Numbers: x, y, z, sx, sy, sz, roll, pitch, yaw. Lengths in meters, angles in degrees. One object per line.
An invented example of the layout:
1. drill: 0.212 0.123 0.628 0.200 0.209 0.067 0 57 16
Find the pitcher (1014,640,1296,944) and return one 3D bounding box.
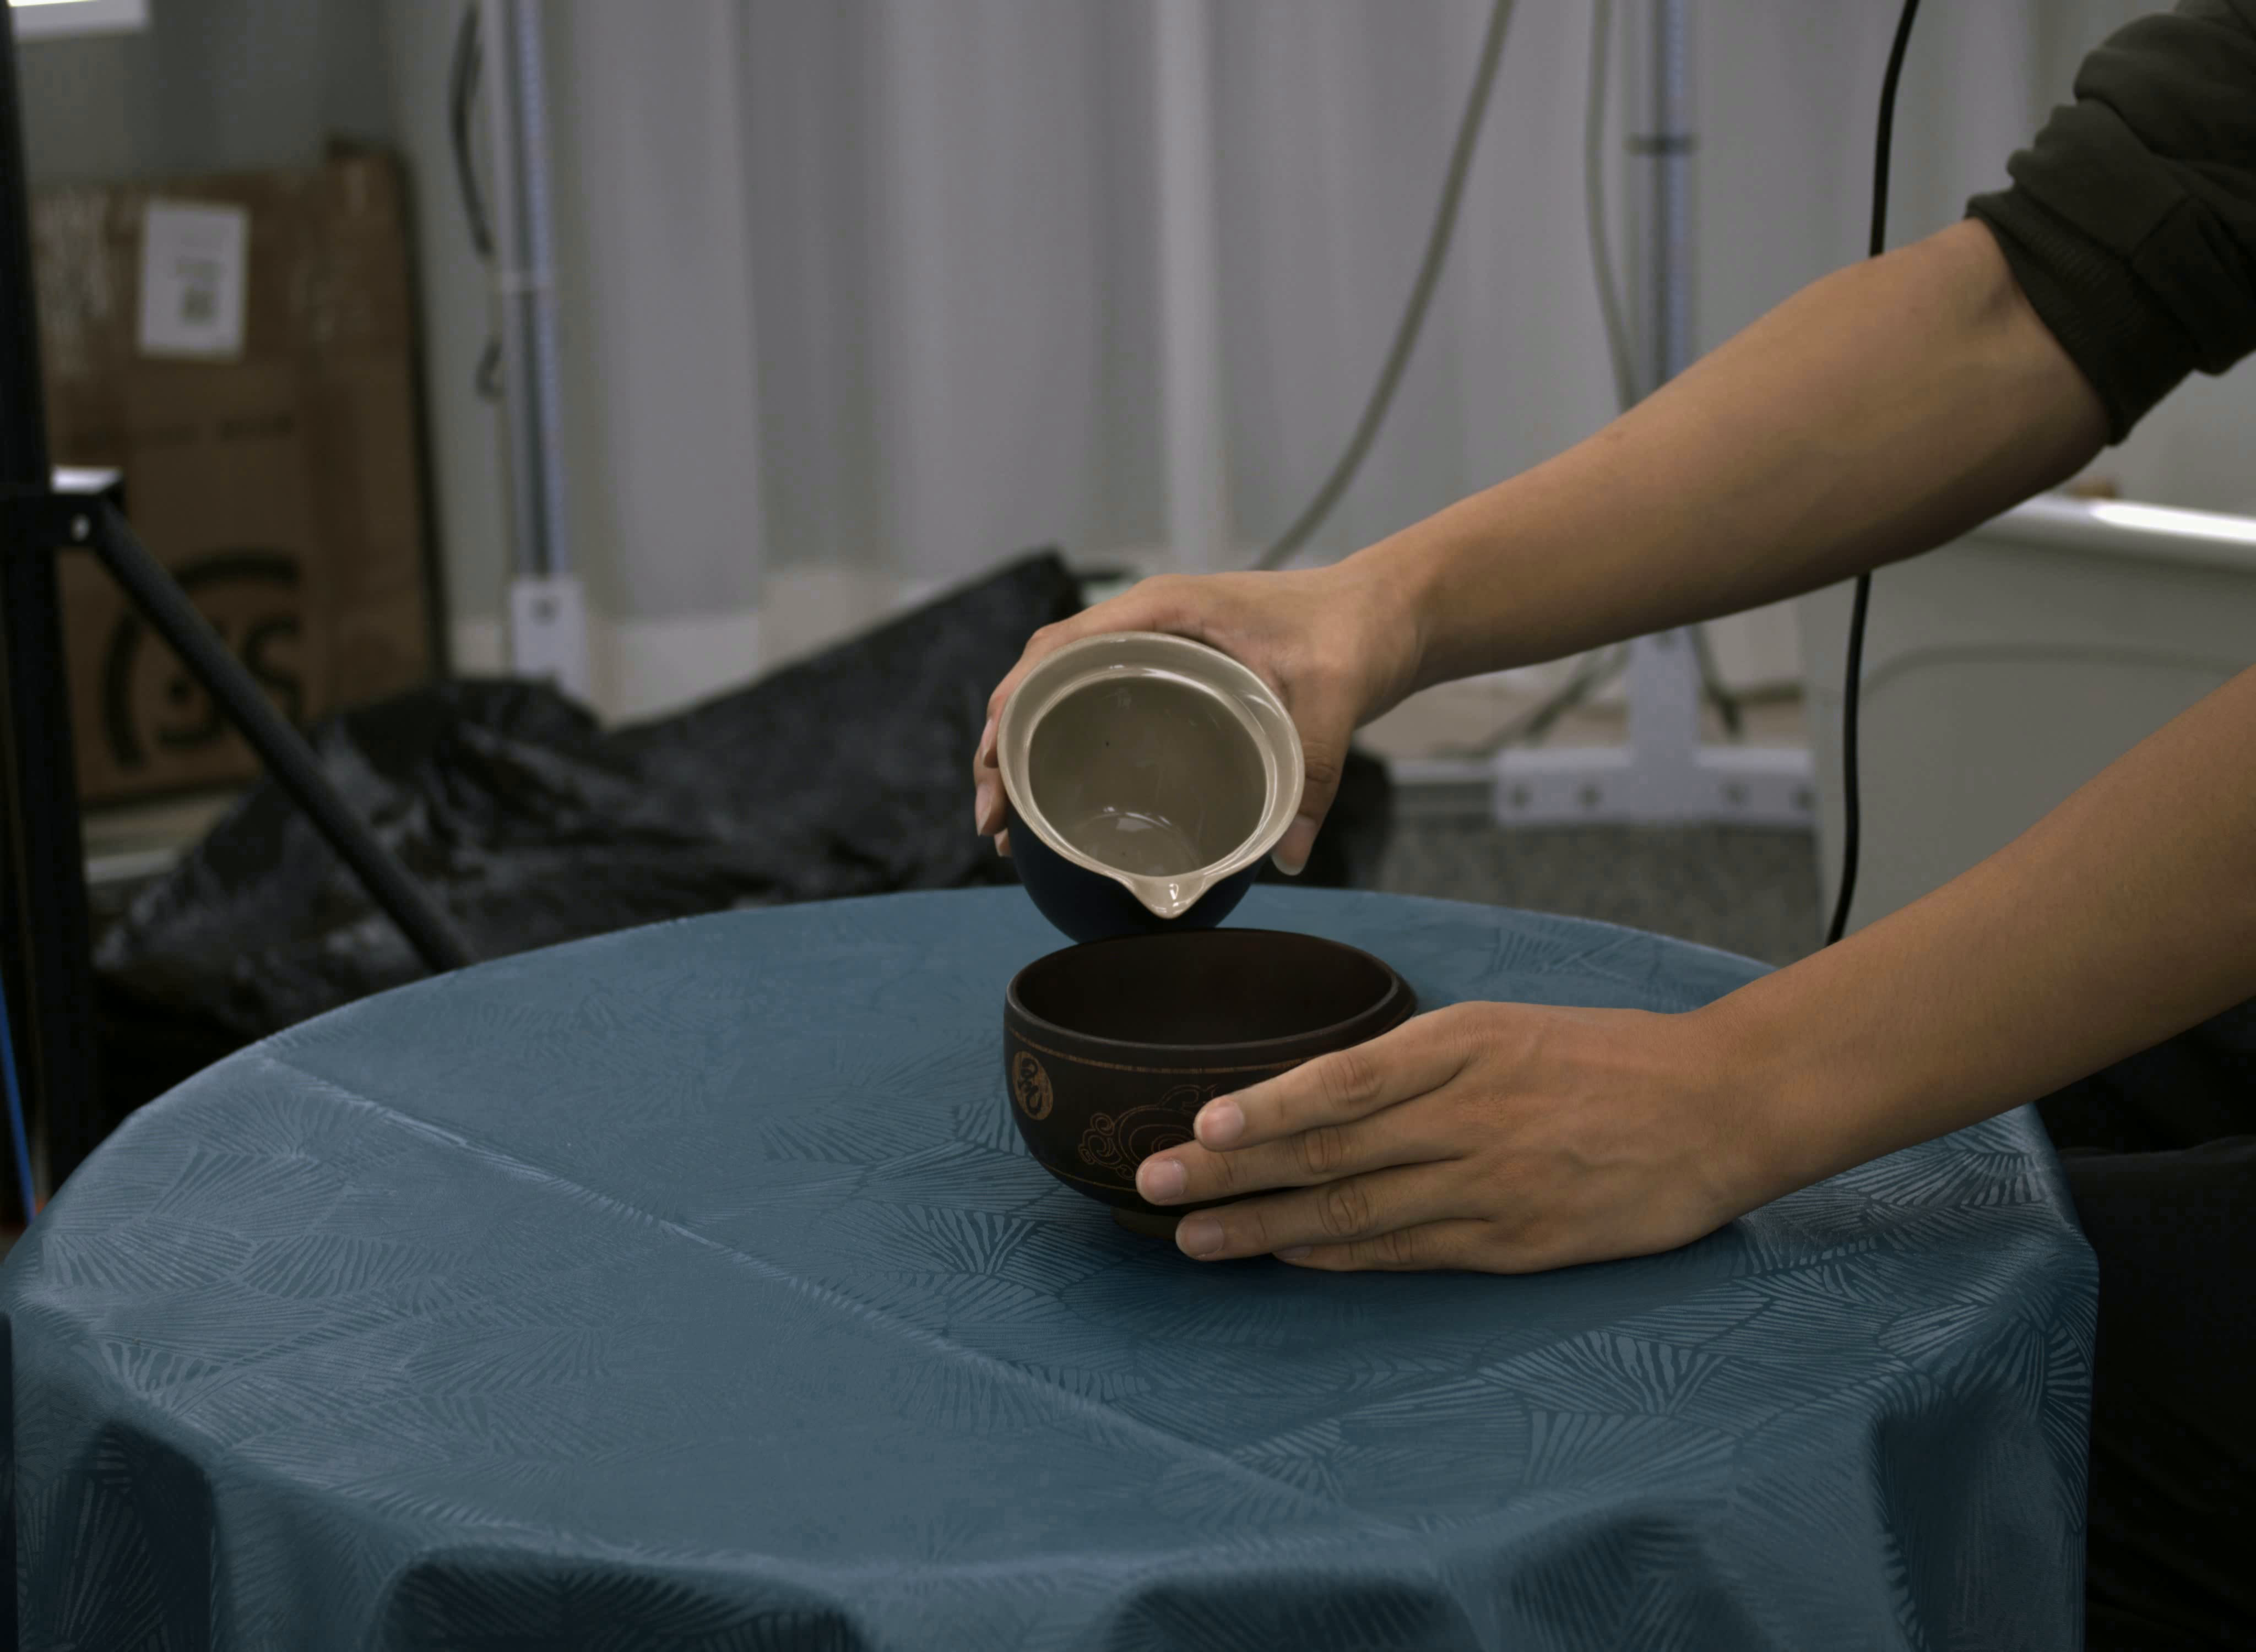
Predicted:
1. pitcher: 0.005 0.000 1.603 0.083 0.071 0.097 6 55 -6

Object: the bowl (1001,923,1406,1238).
1. bowl: 0.023 0.077 1.535 0.117 0.070 0.118 -5 15 0
